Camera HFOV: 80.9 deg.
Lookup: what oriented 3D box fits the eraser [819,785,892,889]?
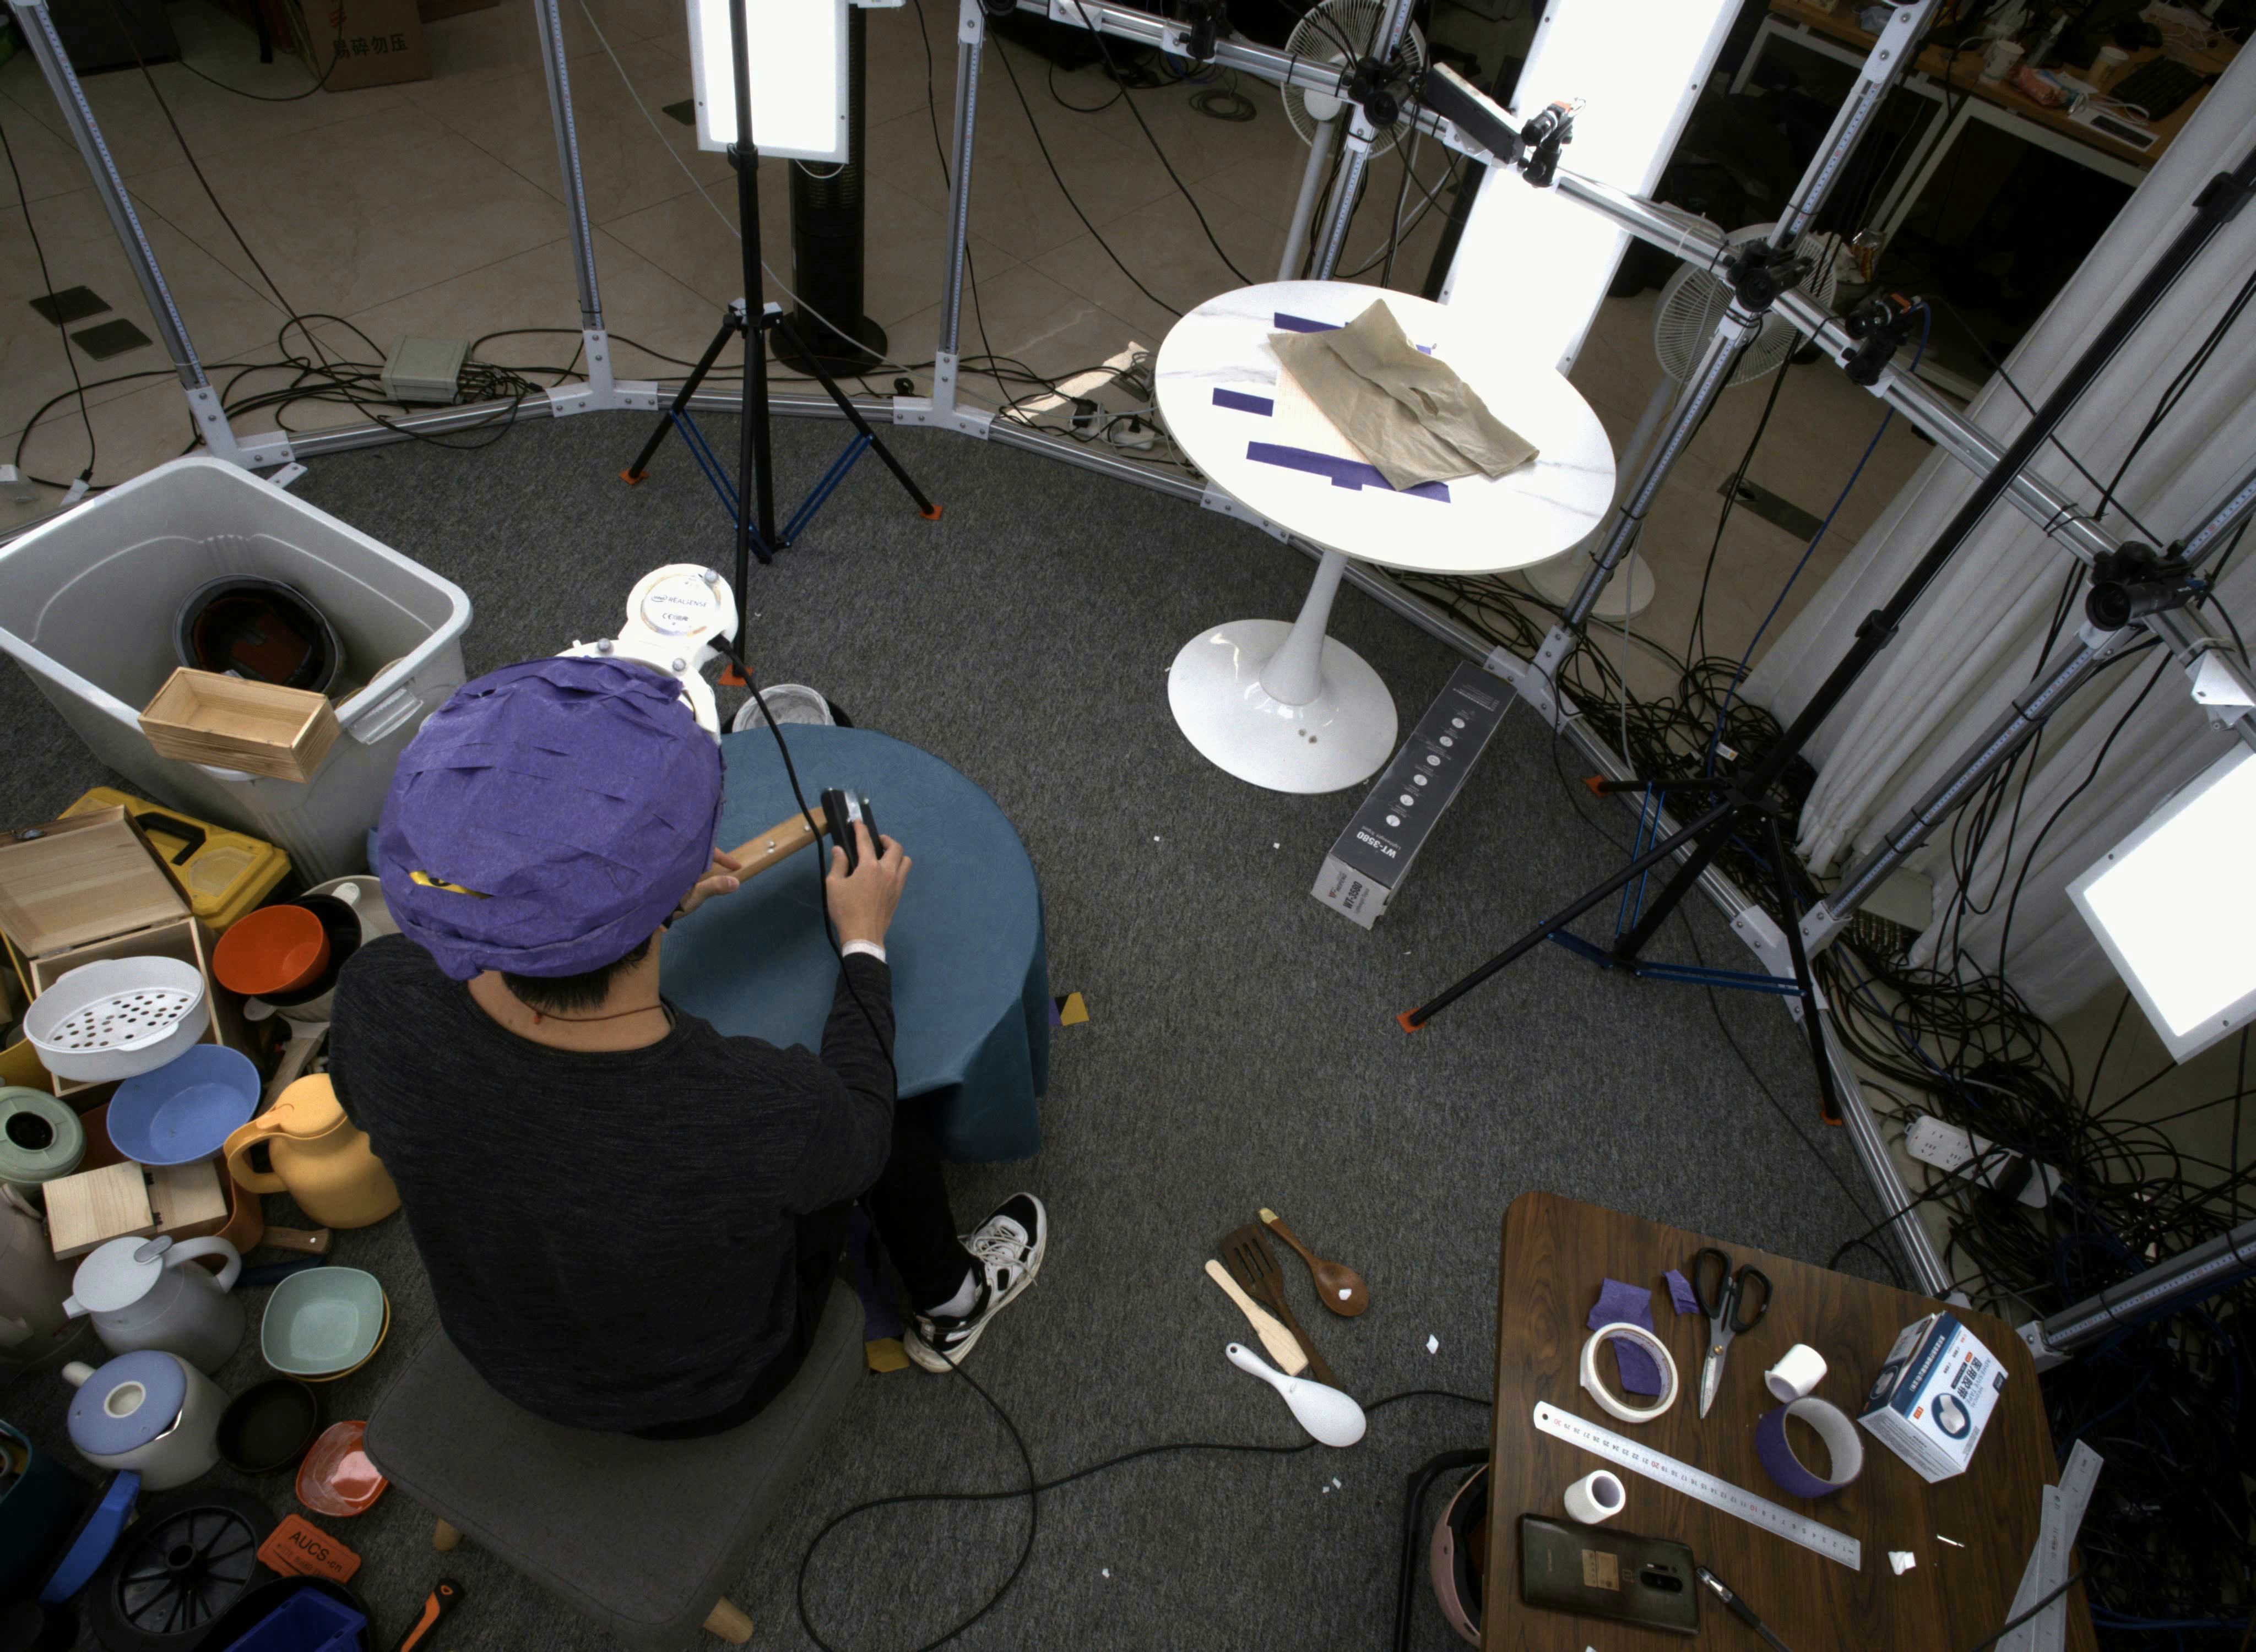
[{"bbox_3d":[-0.330,0.012,1.565,0.054,0.030,0.124,-8,71,-43],"label":"eraser"}]

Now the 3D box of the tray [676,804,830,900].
[{"bbox_3d":[-0.441,0.026,1.563,0.232,0.098,0.021,-37,112,-38],"label":"tray"}]
